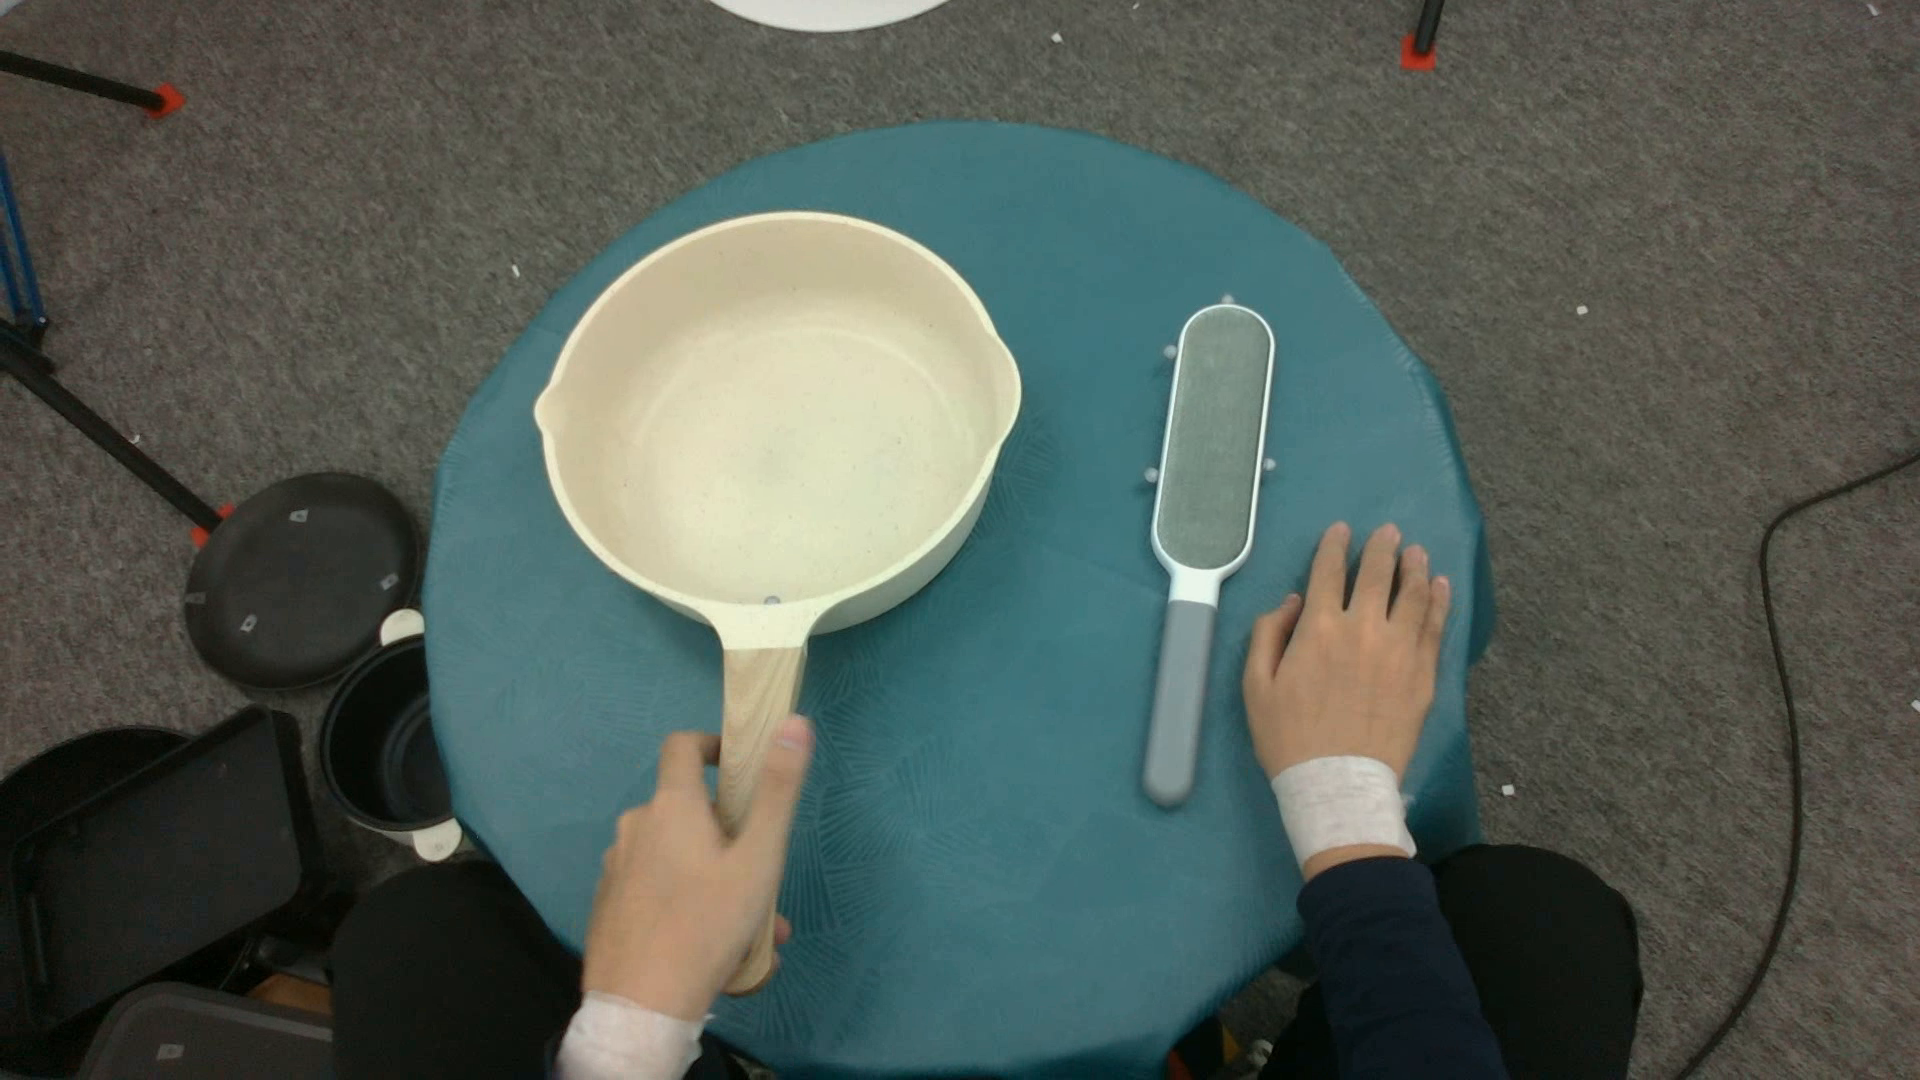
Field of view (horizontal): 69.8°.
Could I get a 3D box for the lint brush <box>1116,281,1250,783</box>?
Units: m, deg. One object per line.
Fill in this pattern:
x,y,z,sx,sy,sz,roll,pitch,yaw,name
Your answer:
0.119,-0.015,0.767,0.060,0.021,0.310,10,66,3,lint brush

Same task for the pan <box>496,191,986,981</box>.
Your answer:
-0.114,0.011,0.728,0.263,0.101,0.436,-2,65,0,pan
